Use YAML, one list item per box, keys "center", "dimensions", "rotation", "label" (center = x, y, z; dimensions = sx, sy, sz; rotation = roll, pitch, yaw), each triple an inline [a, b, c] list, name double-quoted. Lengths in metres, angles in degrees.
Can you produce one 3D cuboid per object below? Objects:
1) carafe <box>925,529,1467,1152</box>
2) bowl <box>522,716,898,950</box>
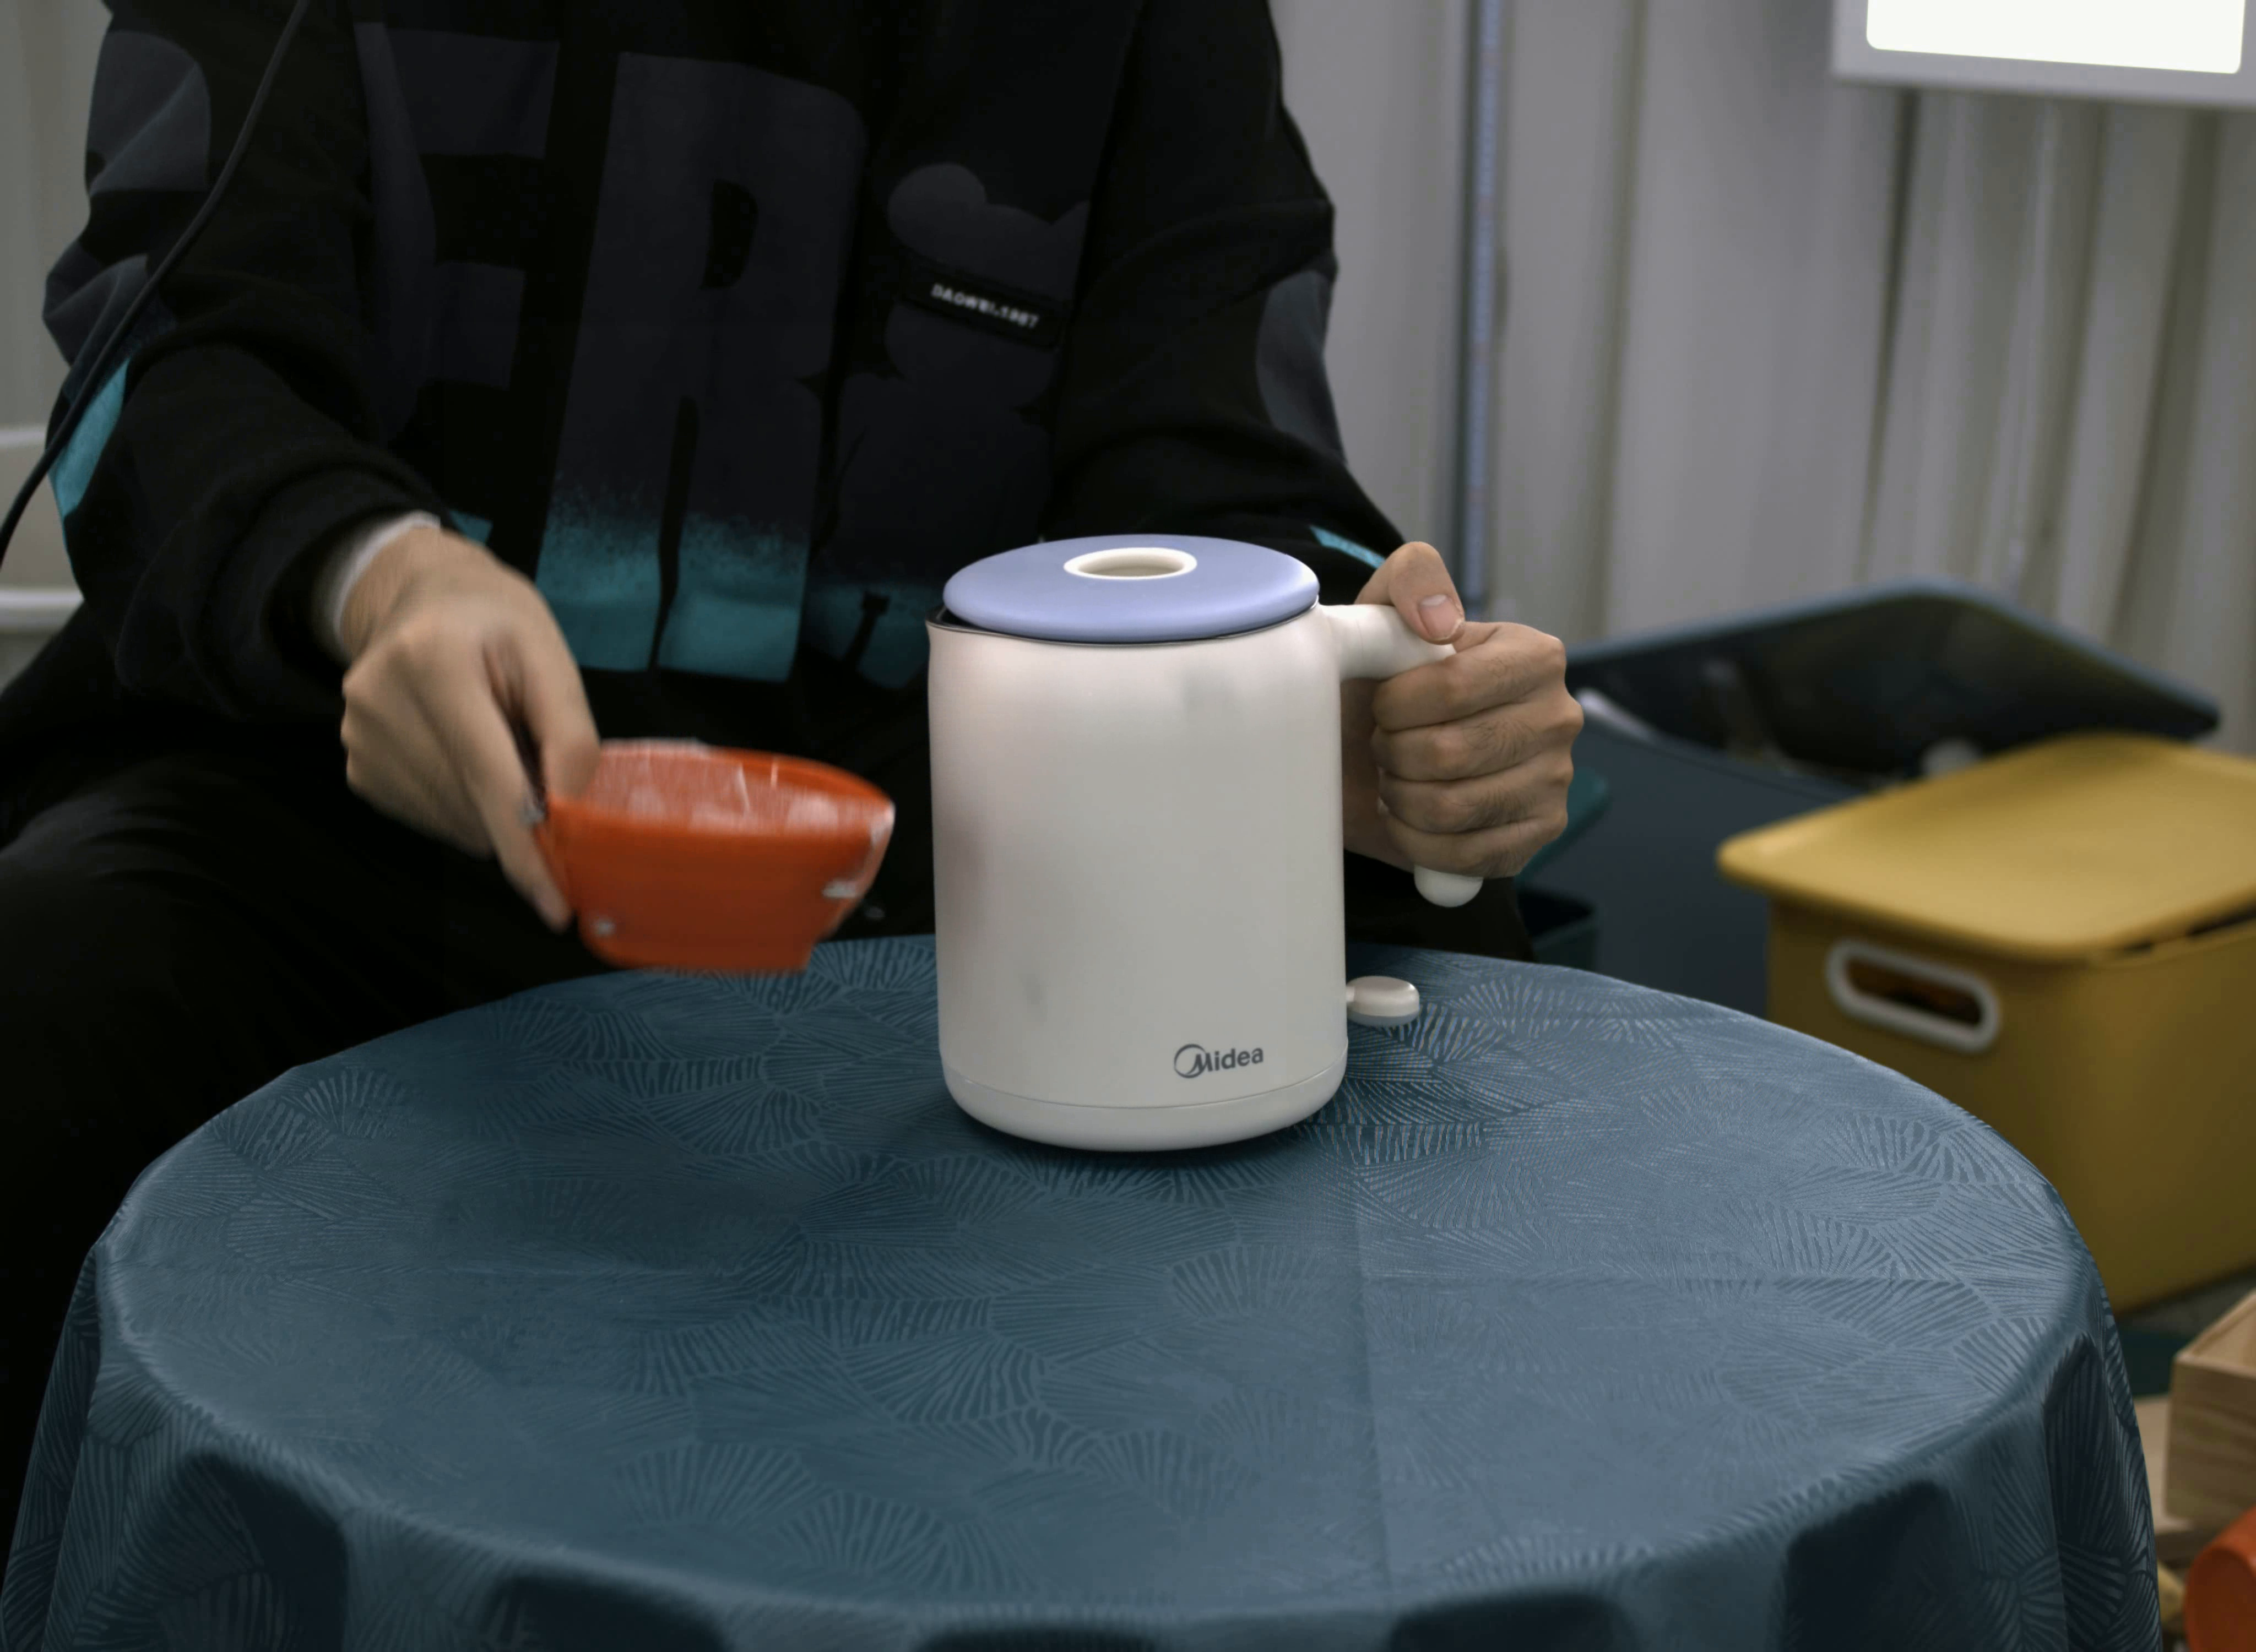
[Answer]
- center: [0.024, 0.001, 1.682]
  dimensions: [0.192, 0.184, 0.130]
  rotation: [-6, 18, -23]
  label: "carafe"
- center: [-0.128, 0.004, 1.581]
  dimensions: [0.118, 0.052, 0.118]
  rotation: [6, 14, -1]
  label: "bowl"
